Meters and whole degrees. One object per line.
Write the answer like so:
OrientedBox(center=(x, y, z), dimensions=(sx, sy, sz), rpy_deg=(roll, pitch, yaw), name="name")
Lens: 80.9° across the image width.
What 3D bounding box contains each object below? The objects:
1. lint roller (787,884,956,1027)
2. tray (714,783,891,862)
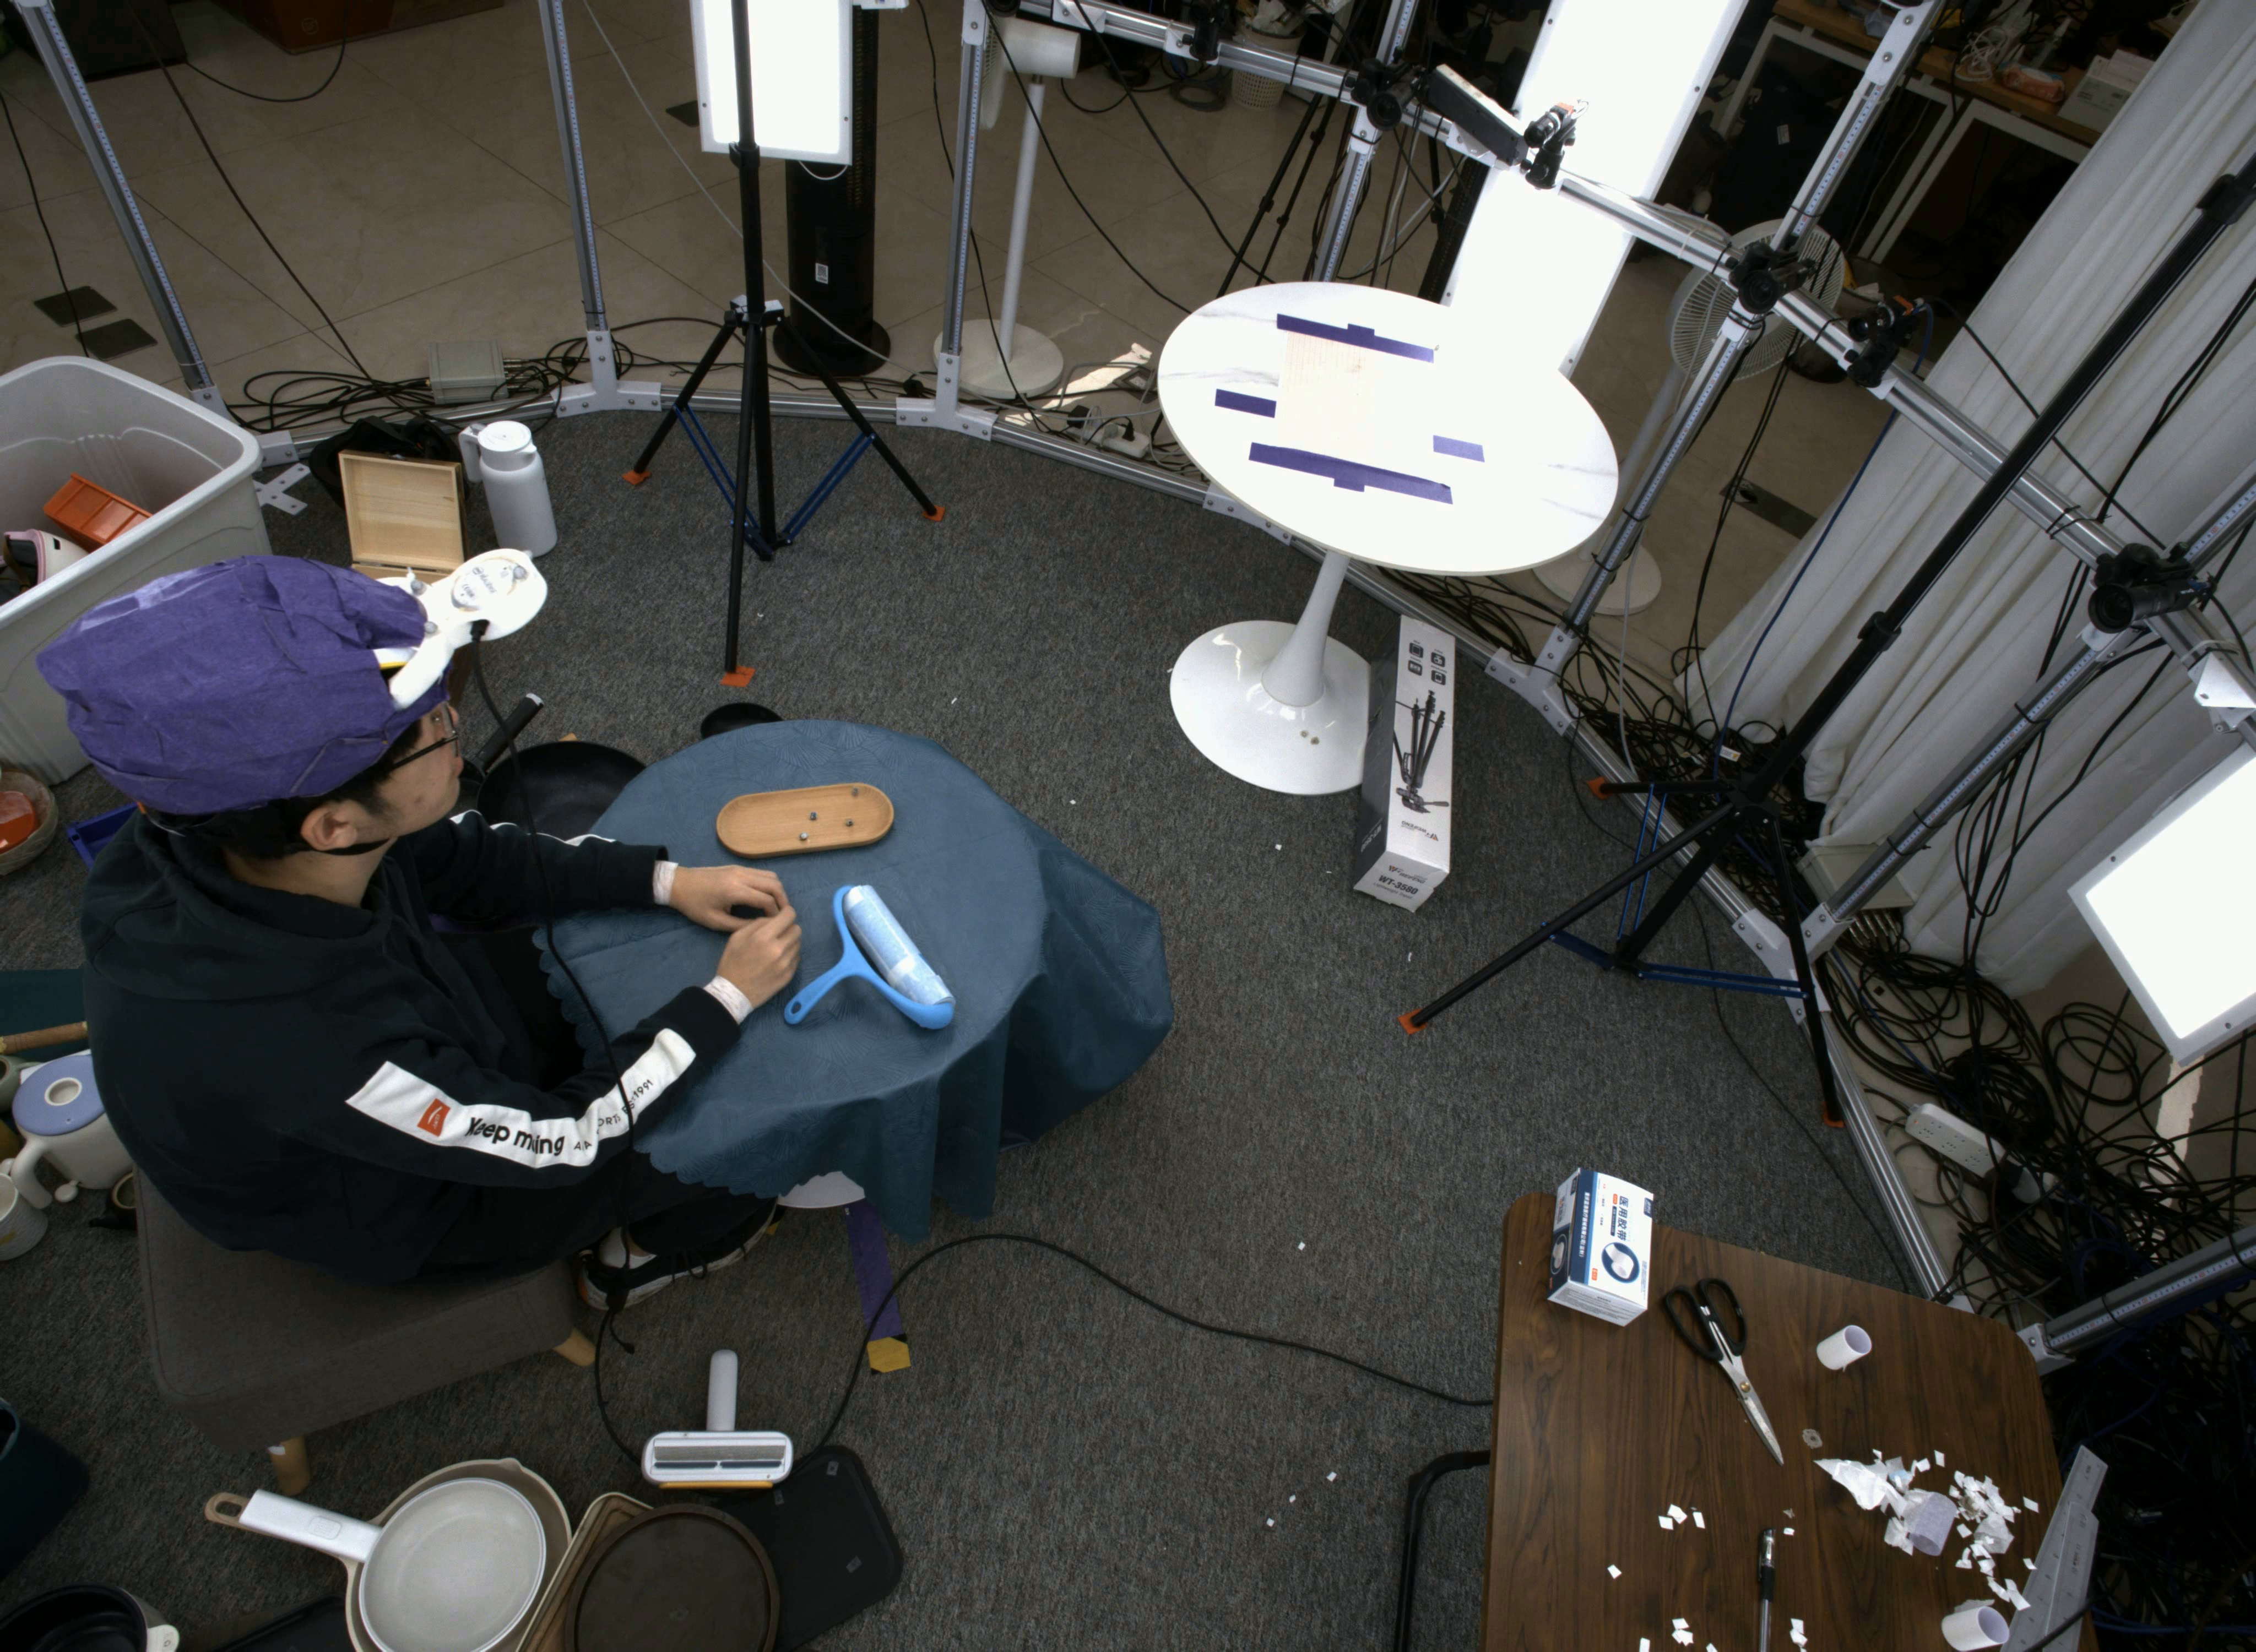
OrientedBox(center=(-0.333, 0.181, 1.583), dimensions=(0.181, 0.069, 0.224), rpy_deg=(-30, 68, -32), name="lint roller")
OrientedBox(center=(-0.431, -0.006, 1.722), dimensions=(0.232, 0.021, 0.099), rpy_deg=(-9, 56, -19), name="tray")
